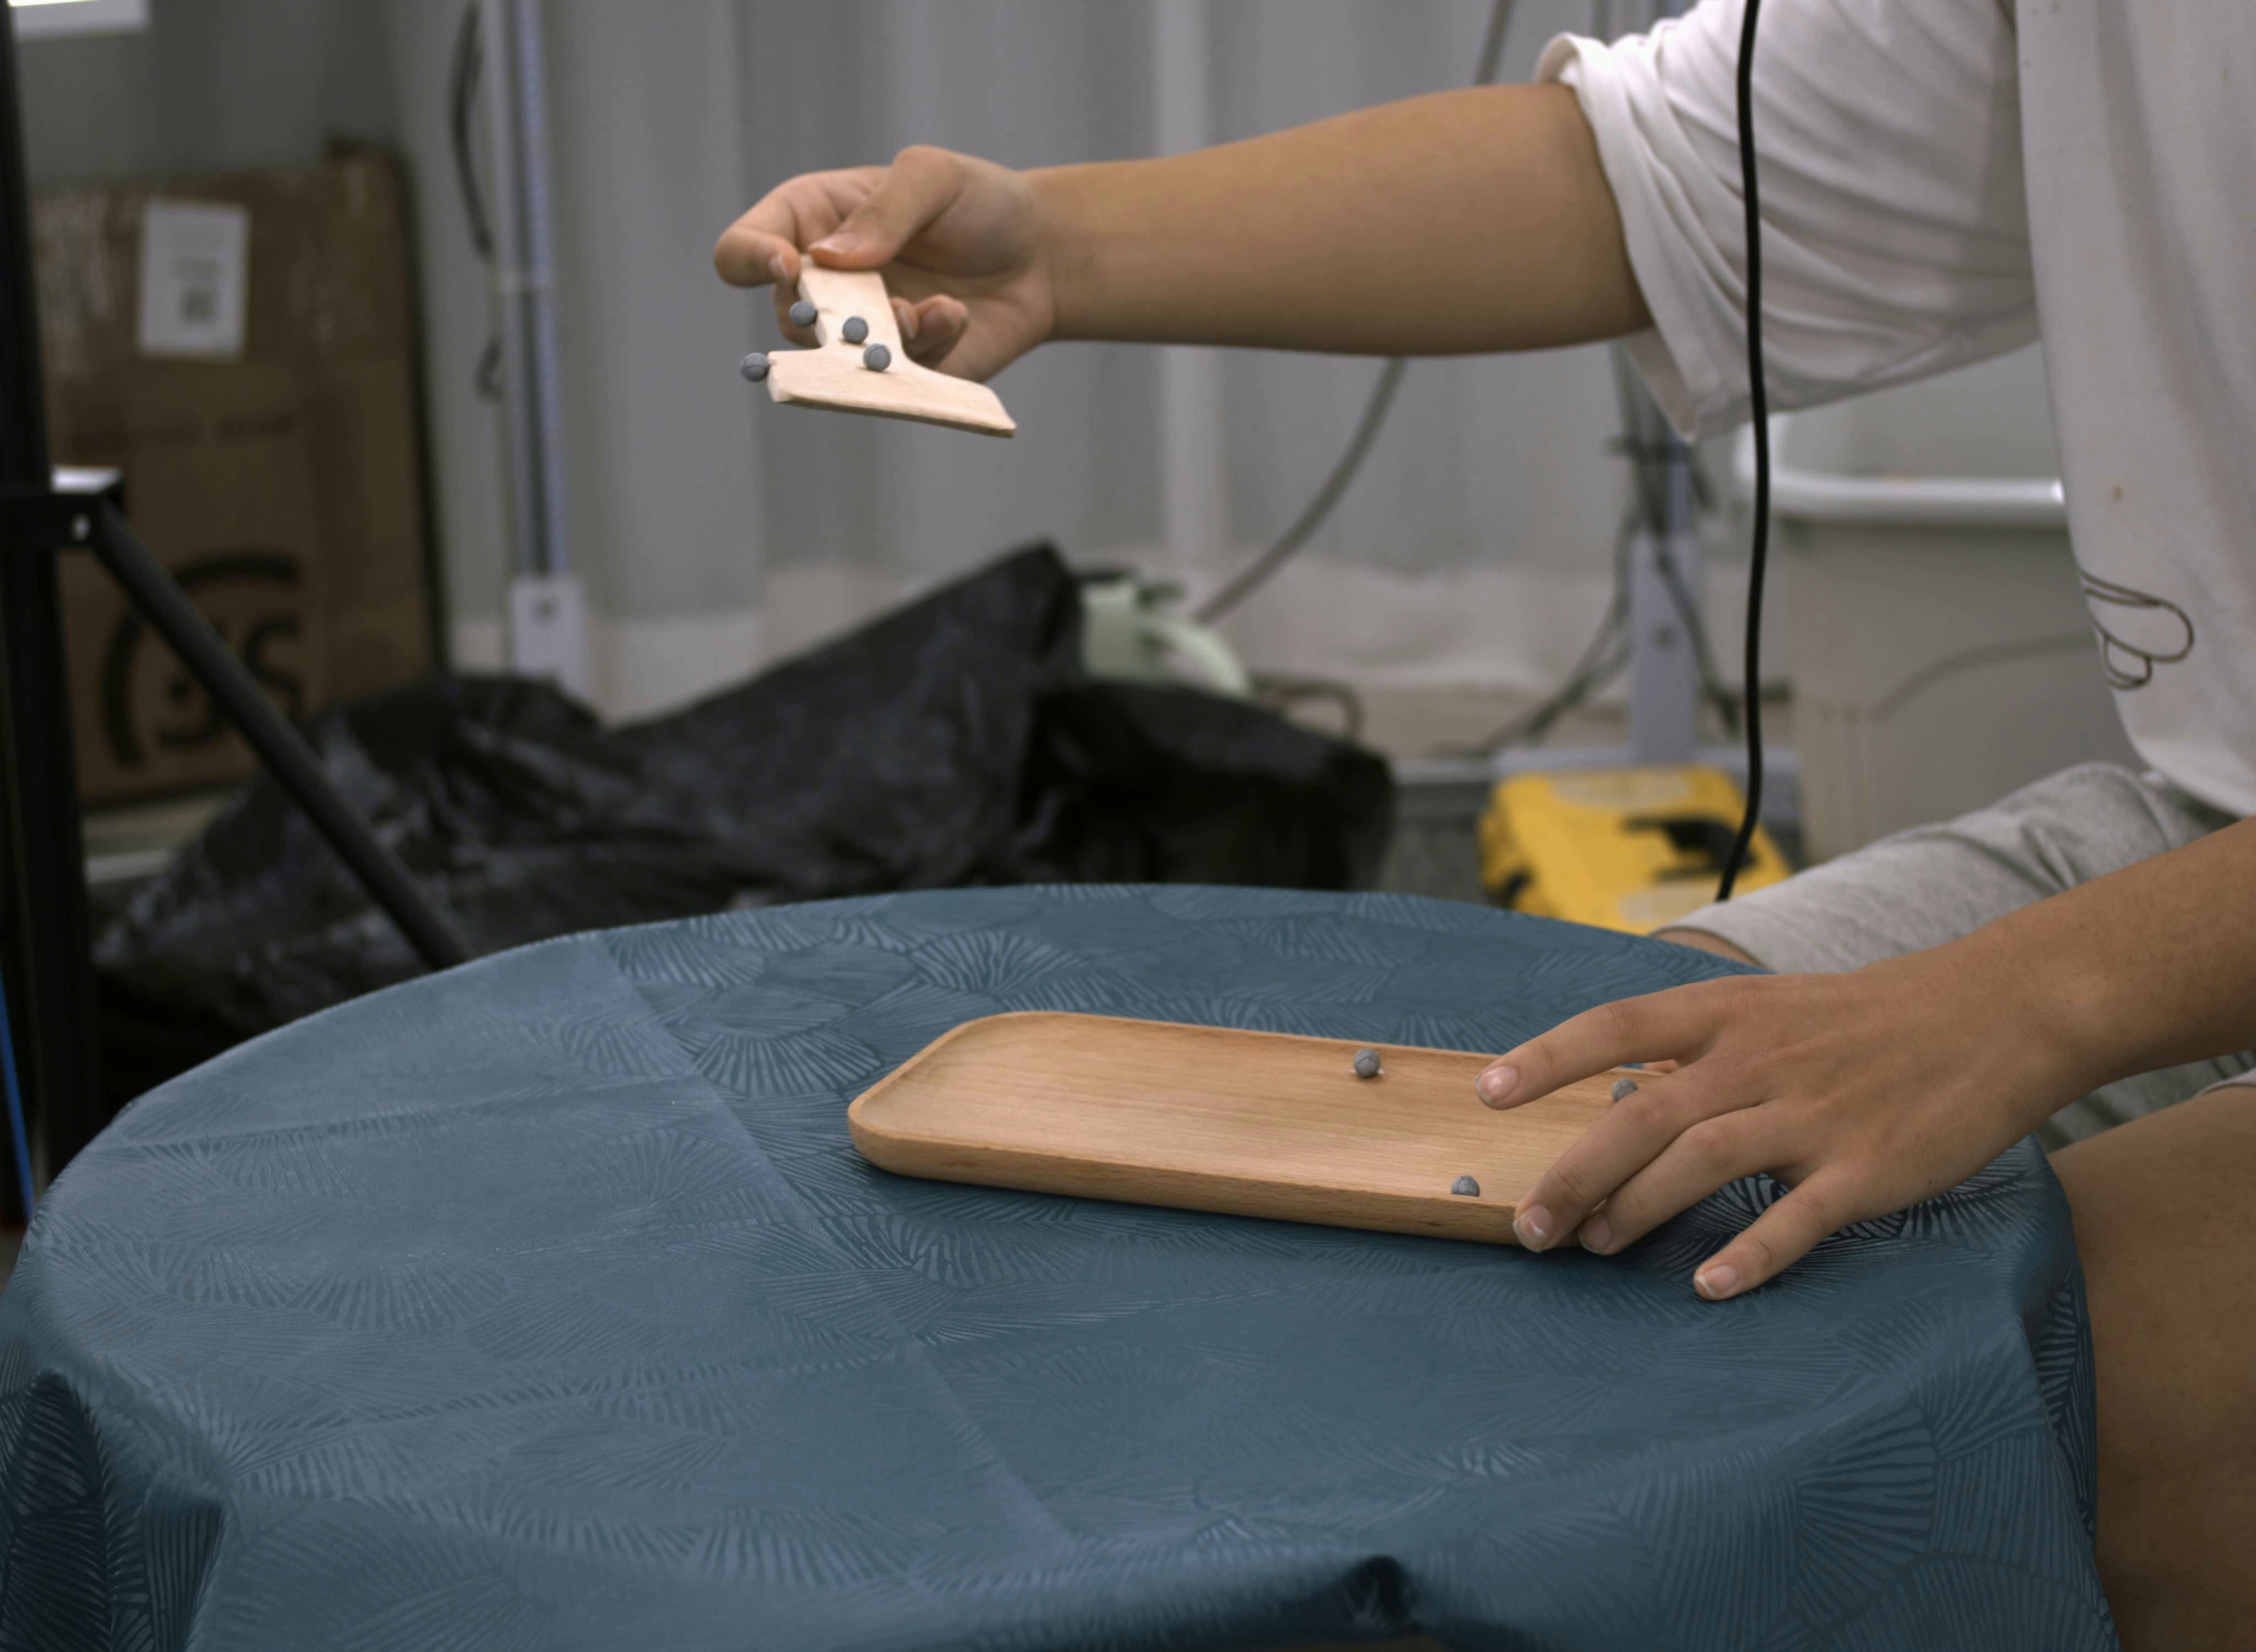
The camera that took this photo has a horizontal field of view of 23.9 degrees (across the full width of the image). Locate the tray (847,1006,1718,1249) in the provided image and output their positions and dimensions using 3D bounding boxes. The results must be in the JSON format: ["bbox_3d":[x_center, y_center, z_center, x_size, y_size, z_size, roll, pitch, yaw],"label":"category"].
[{"bbox_3d":[0.046,0.089,1.592,0.254,0.023,0.128,5,15,26],"label":"tray"}]

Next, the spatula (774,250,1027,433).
[{"bbox_3d":[-0.083,-0.155,1.682,0.071,0.011,0.296,6,14,-9],"label":"spatula"}]
